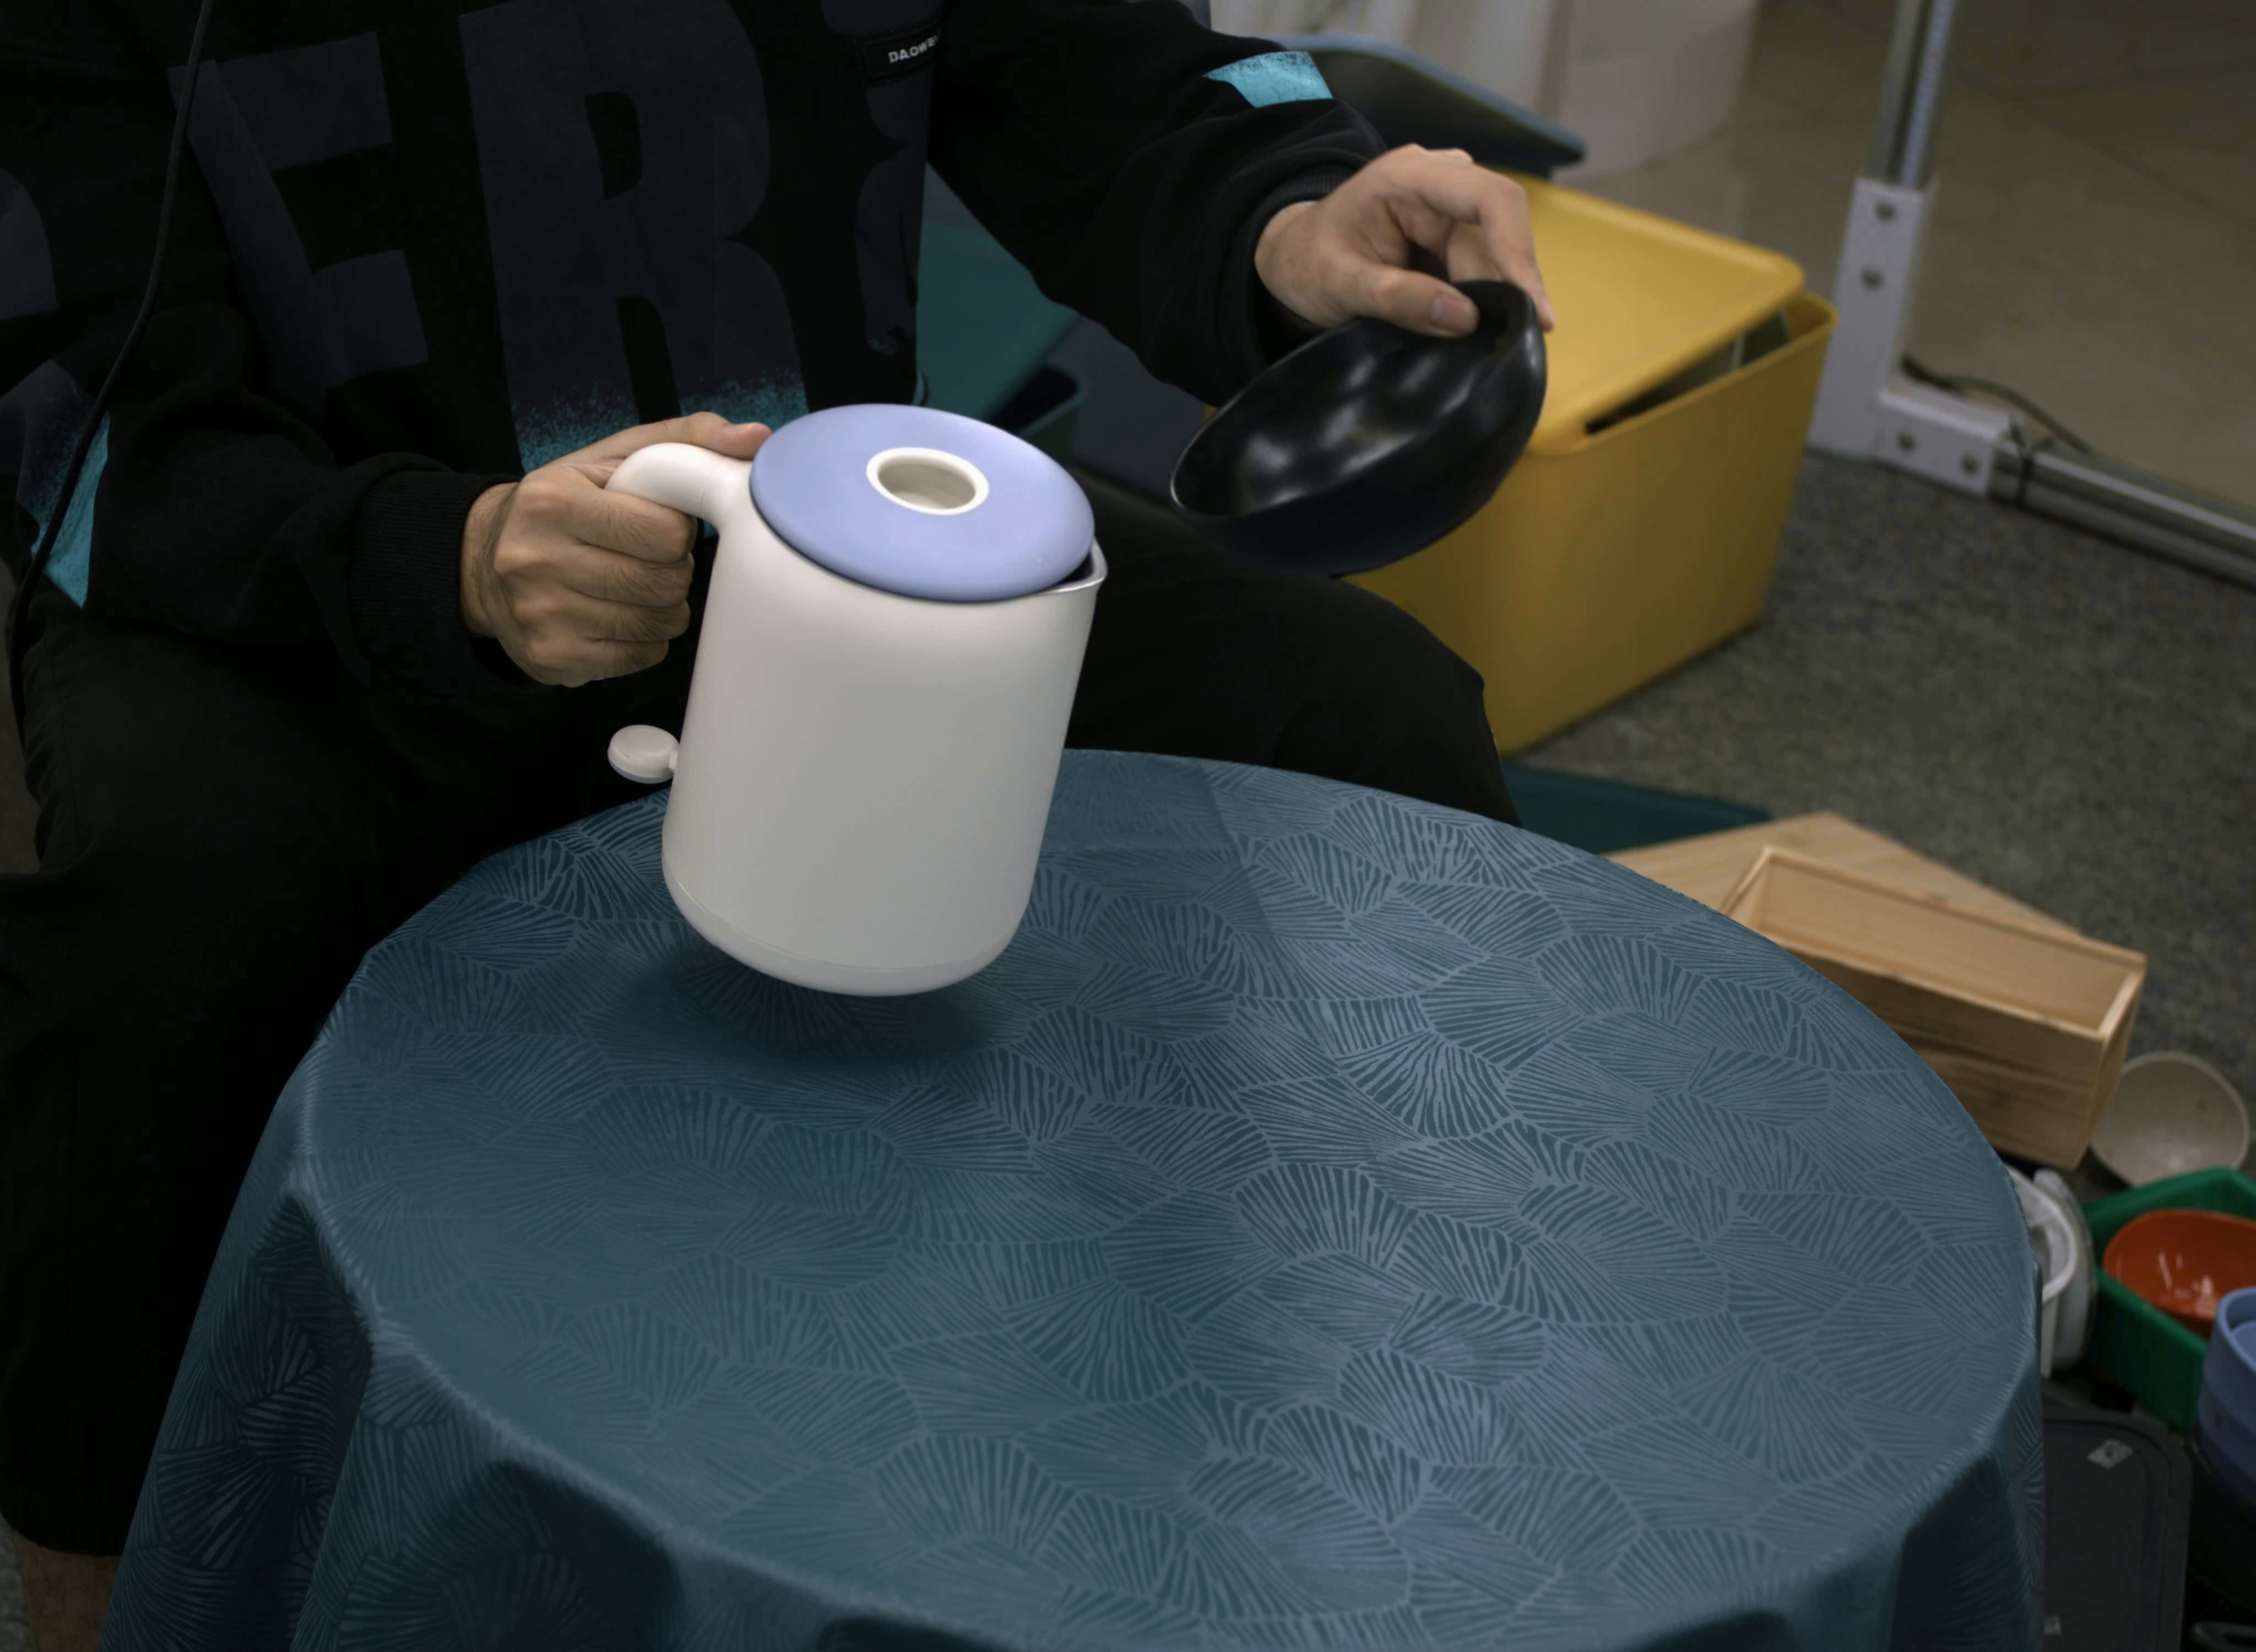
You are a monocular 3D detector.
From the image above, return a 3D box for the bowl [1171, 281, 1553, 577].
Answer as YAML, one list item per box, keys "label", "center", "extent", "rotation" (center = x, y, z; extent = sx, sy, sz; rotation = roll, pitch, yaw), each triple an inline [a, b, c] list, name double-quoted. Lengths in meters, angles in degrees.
- label: "bowl"
  center: [0.086, -0.124, 1.779]
  extent: [0.140, 0.049, 0.141]
  rotation: [-28, 20, 11]

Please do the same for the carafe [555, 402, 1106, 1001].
- label: "carafe"
  center: [-0.108, -0.051, 1.843]
  extent: [0.191, 0.182, 0.132]
  rotation: [18, 32, 13]
